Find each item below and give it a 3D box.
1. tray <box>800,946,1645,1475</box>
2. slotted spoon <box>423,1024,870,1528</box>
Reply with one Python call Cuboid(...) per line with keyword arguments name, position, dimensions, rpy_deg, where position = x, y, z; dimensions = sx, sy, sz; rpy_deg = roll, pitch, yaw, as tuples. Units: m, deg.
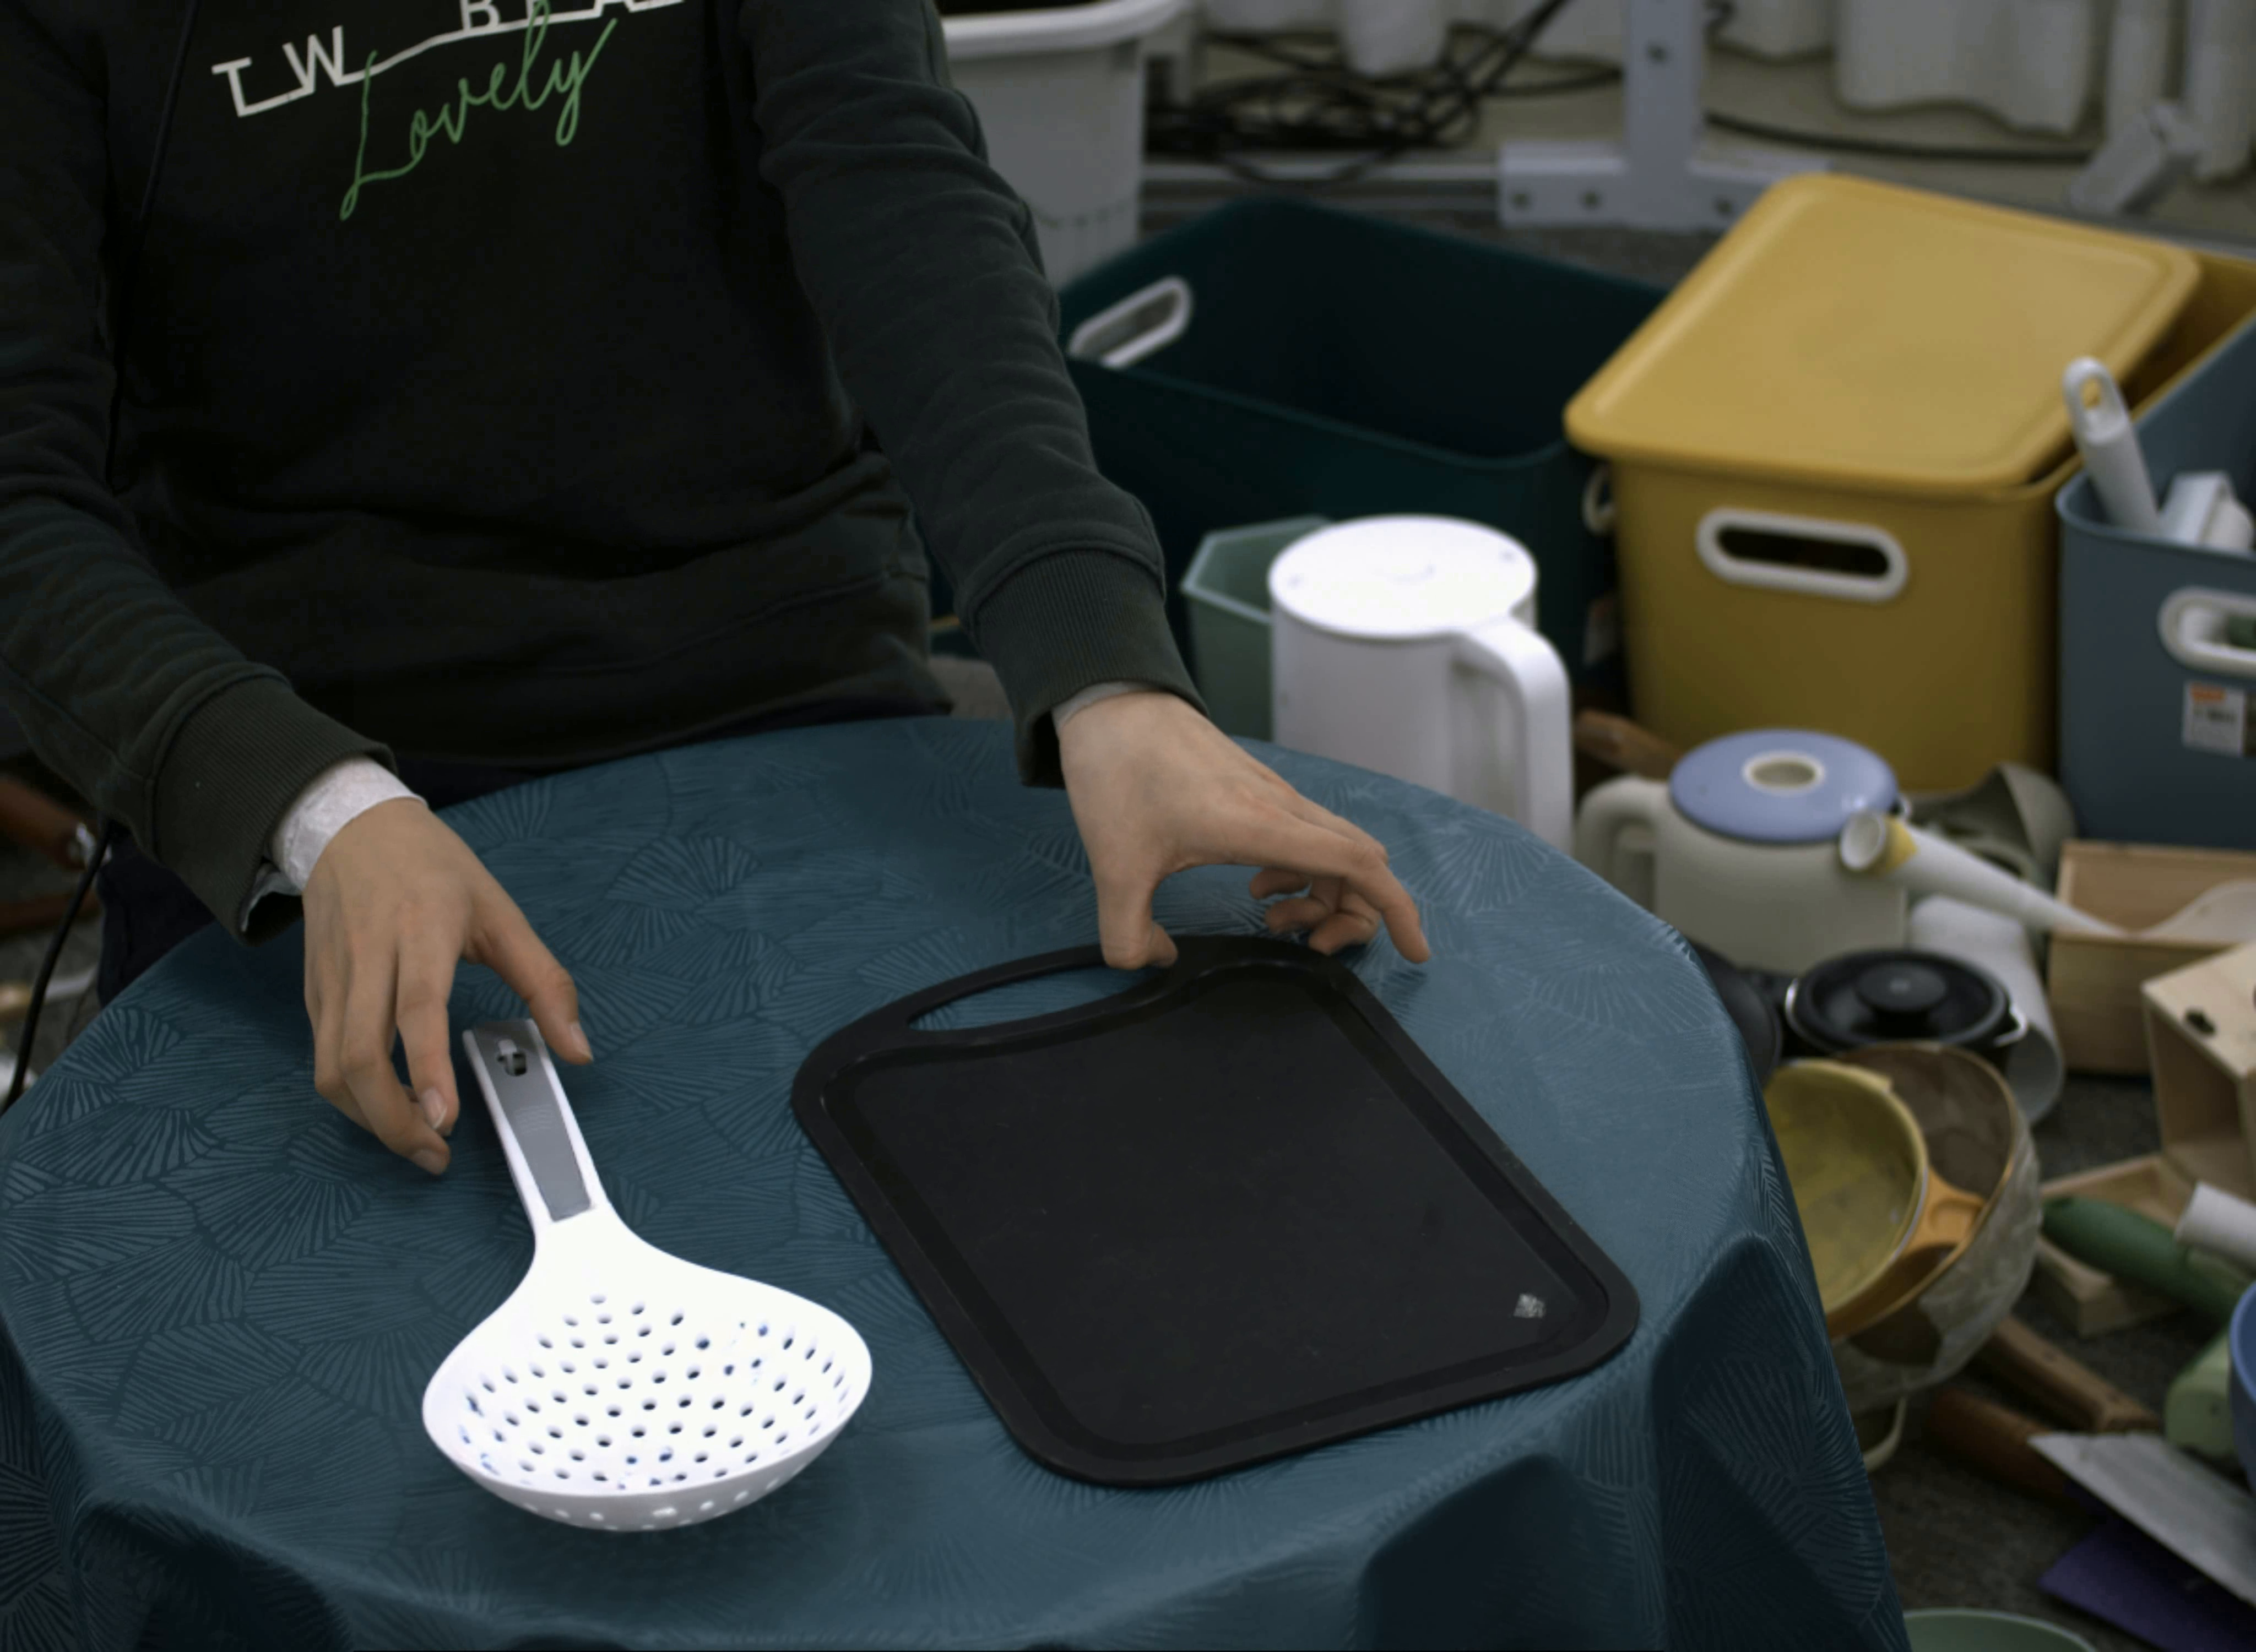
Cuboid(name="tray", position=(0.021, 0.117, 1.860), dimensions=(0.211, 0.009, 0.328), rpy_deg=(-12, 28, -18))
Cuboid(name="slotted spoon", position=(-0.173, 0.138, 1.799), dimensions=(0.136, 0.045, 0.353), rpy_deg=(-8, 27, -13))
